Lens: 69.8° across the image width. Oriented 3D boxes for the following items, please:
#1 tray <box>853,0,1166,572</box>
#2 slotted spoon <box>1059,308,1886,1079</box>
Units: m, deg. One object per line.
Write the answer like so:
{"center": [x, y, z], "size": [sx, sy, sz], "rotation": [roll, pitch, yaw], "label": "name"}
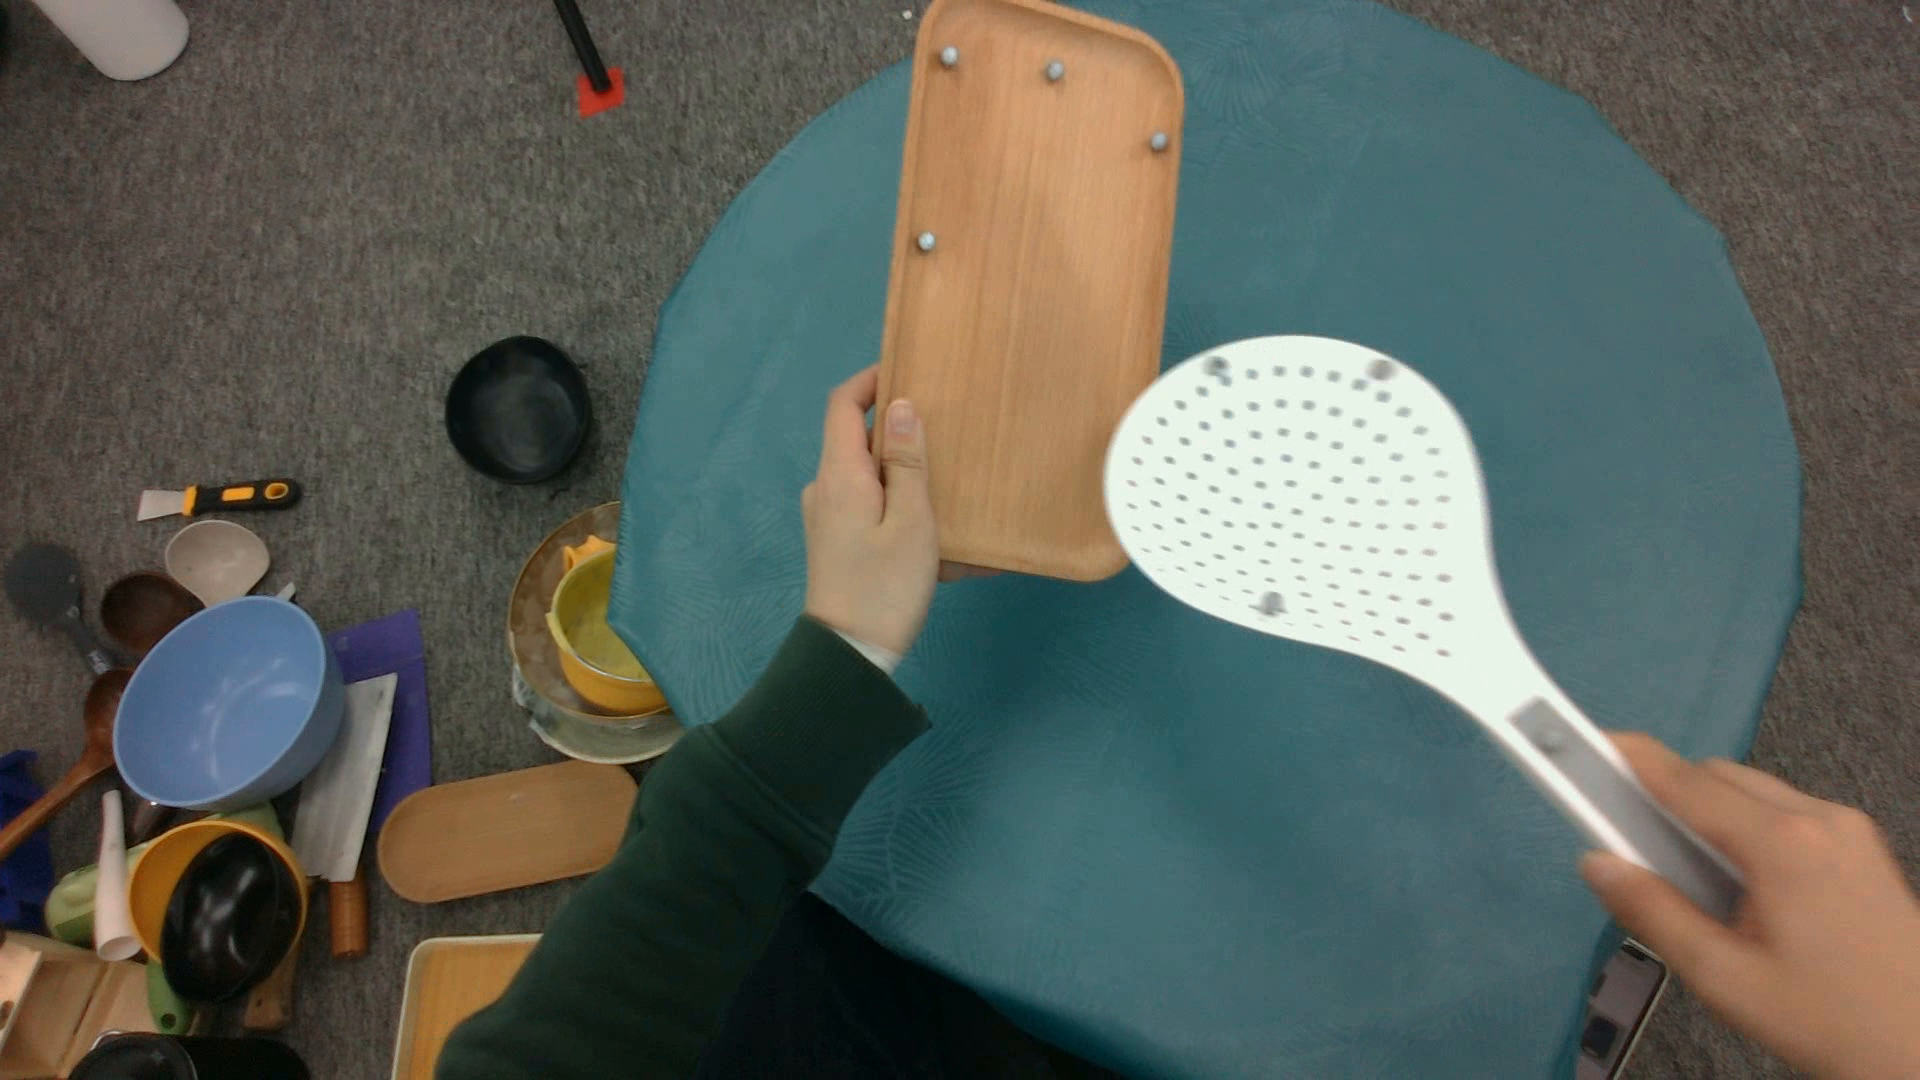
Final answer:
{"center": [0.025, -0.114, 0.605], "size": [0.131, 0.023, 0.251], "rotation": [9, 81, -17], "label": "tray"}
{"center": [0.170, 0.039, 0.495], "size": [0.136, 0.045, 0.350], "rotation": [-34, 56, -12], "label": "slotted spoon"}
